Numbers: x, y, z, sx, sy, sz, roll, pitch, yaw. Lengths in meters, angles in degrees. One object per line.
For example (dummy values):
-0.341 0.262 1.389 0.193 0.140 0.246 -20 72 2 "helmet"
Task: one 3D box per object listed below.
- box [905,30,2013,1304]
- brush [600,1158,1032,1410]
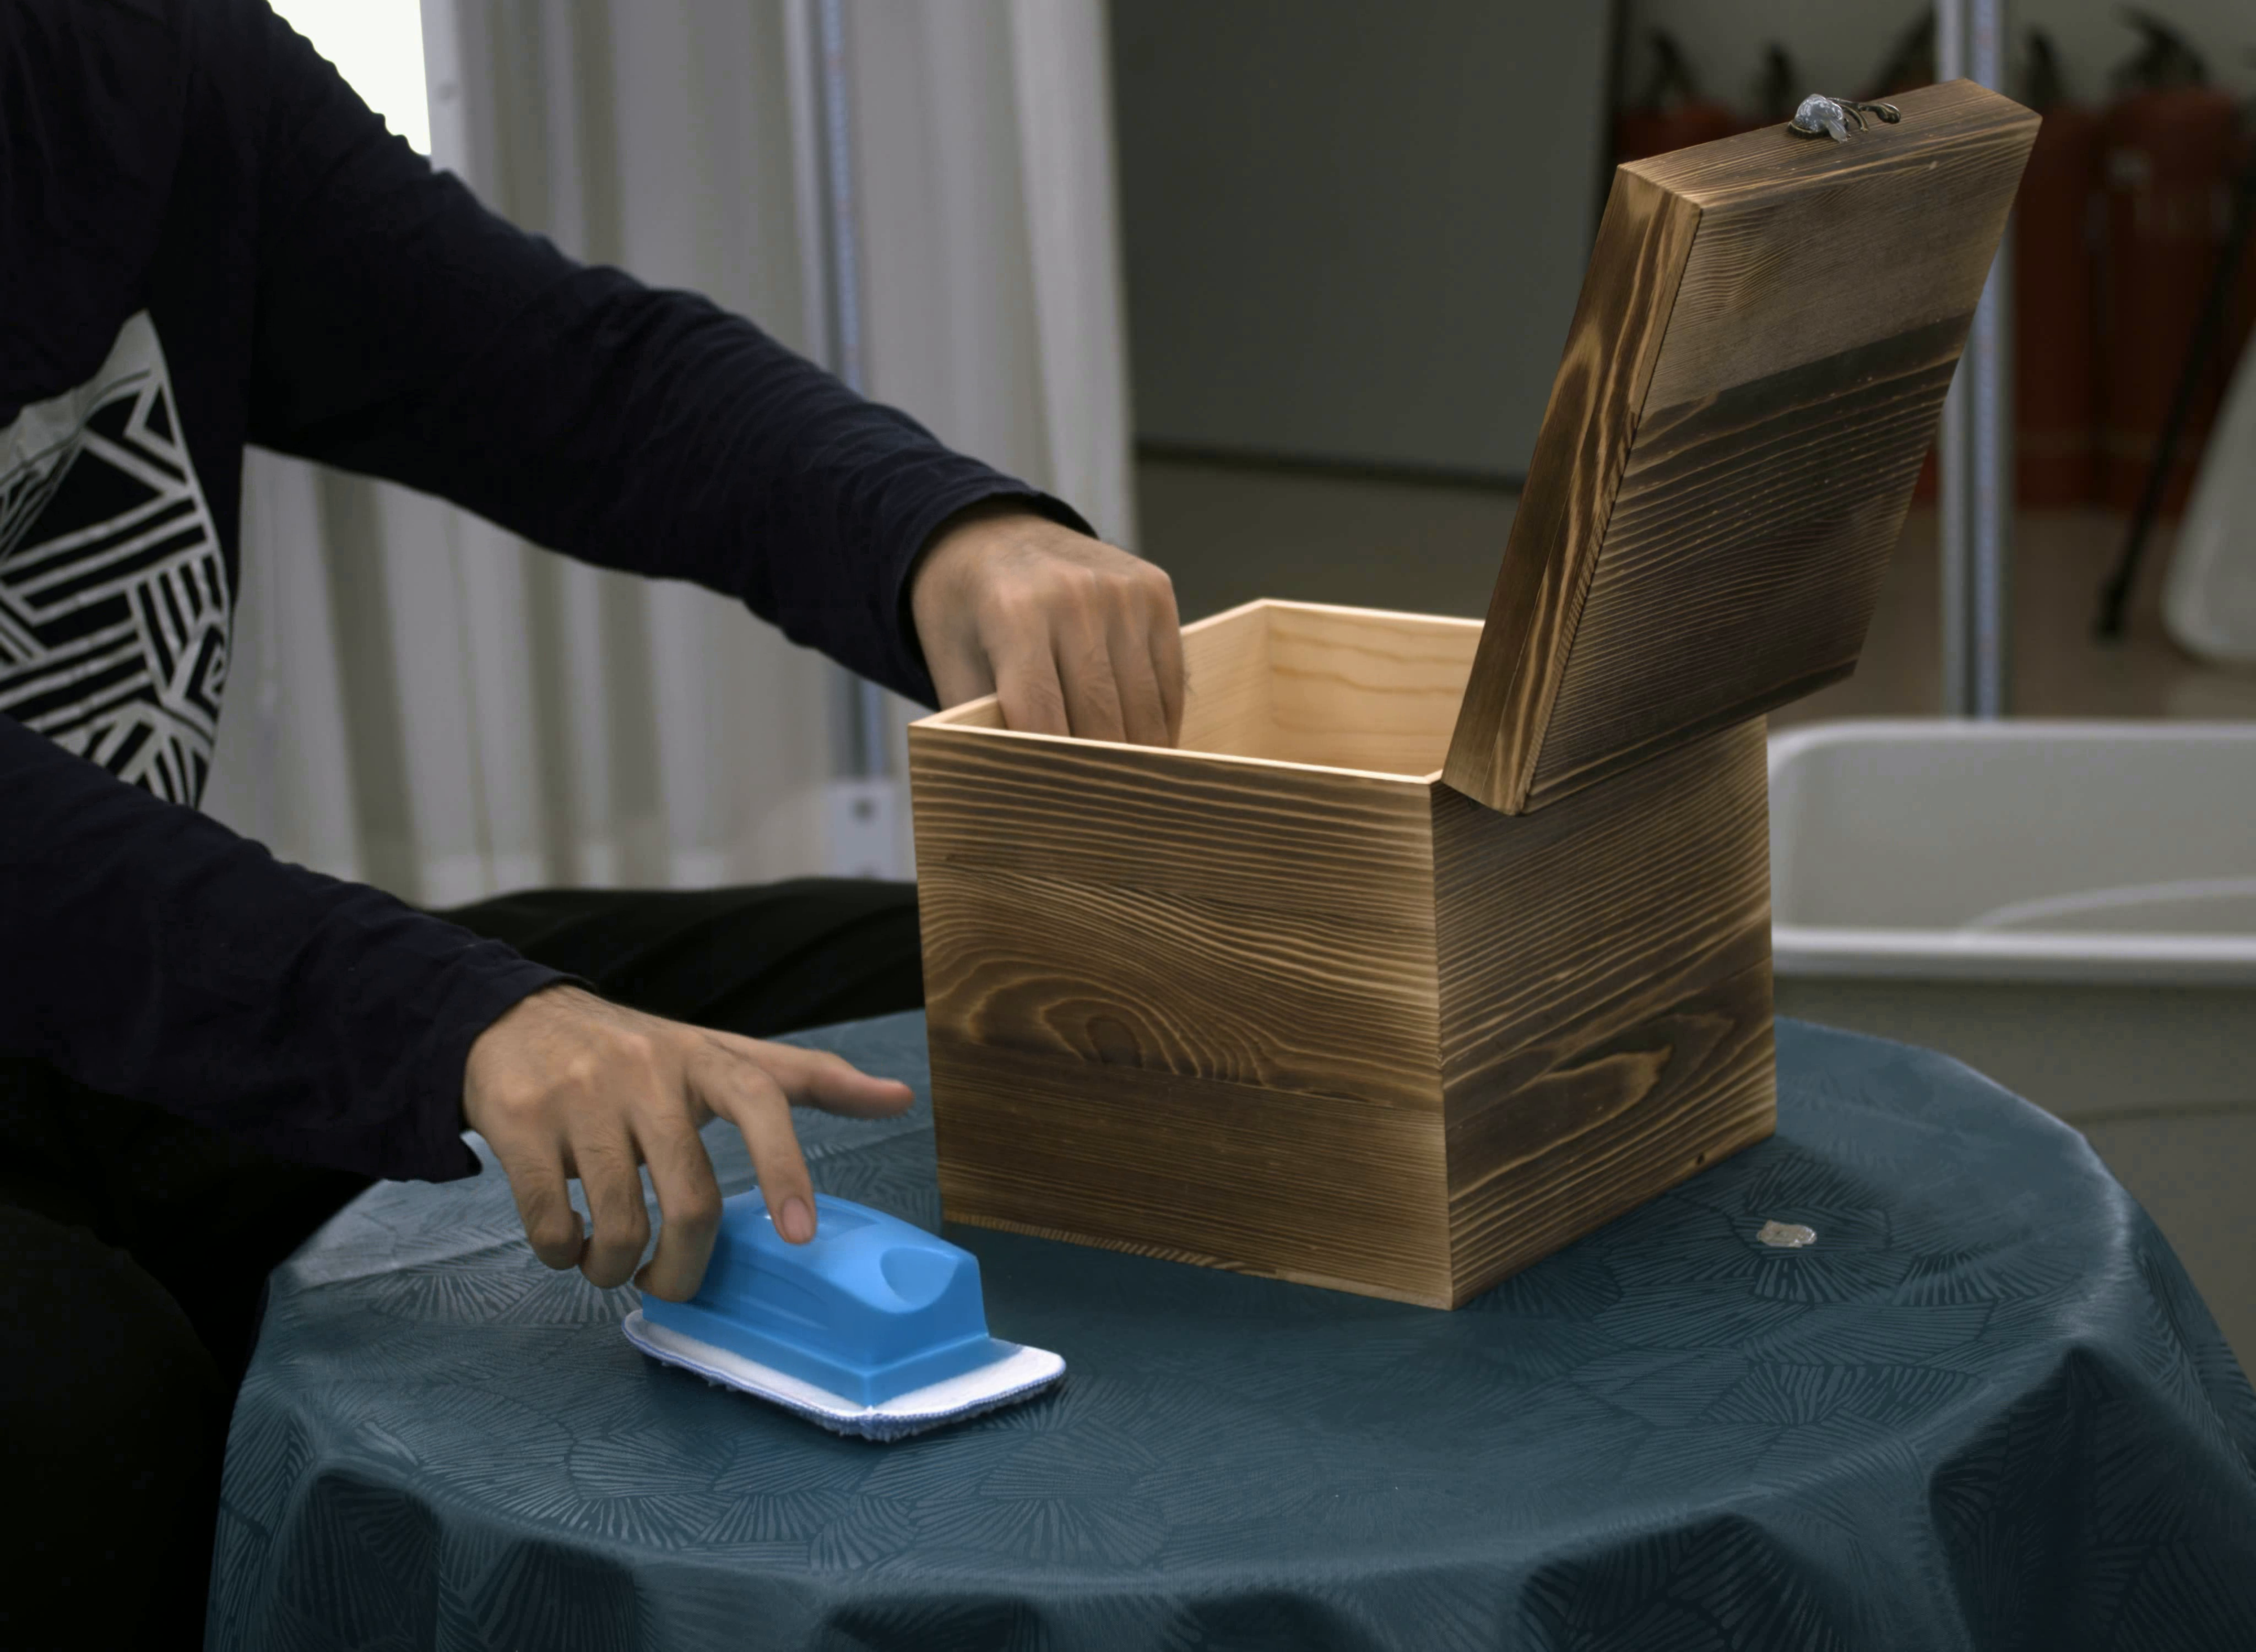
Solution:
0.108 -0.056 1.702 0.324 0.379 0.205 6 16 37 "box"
-0.093 0.135 1.619 0.082 0.056 0.145 -9 16 -34 "brush"
